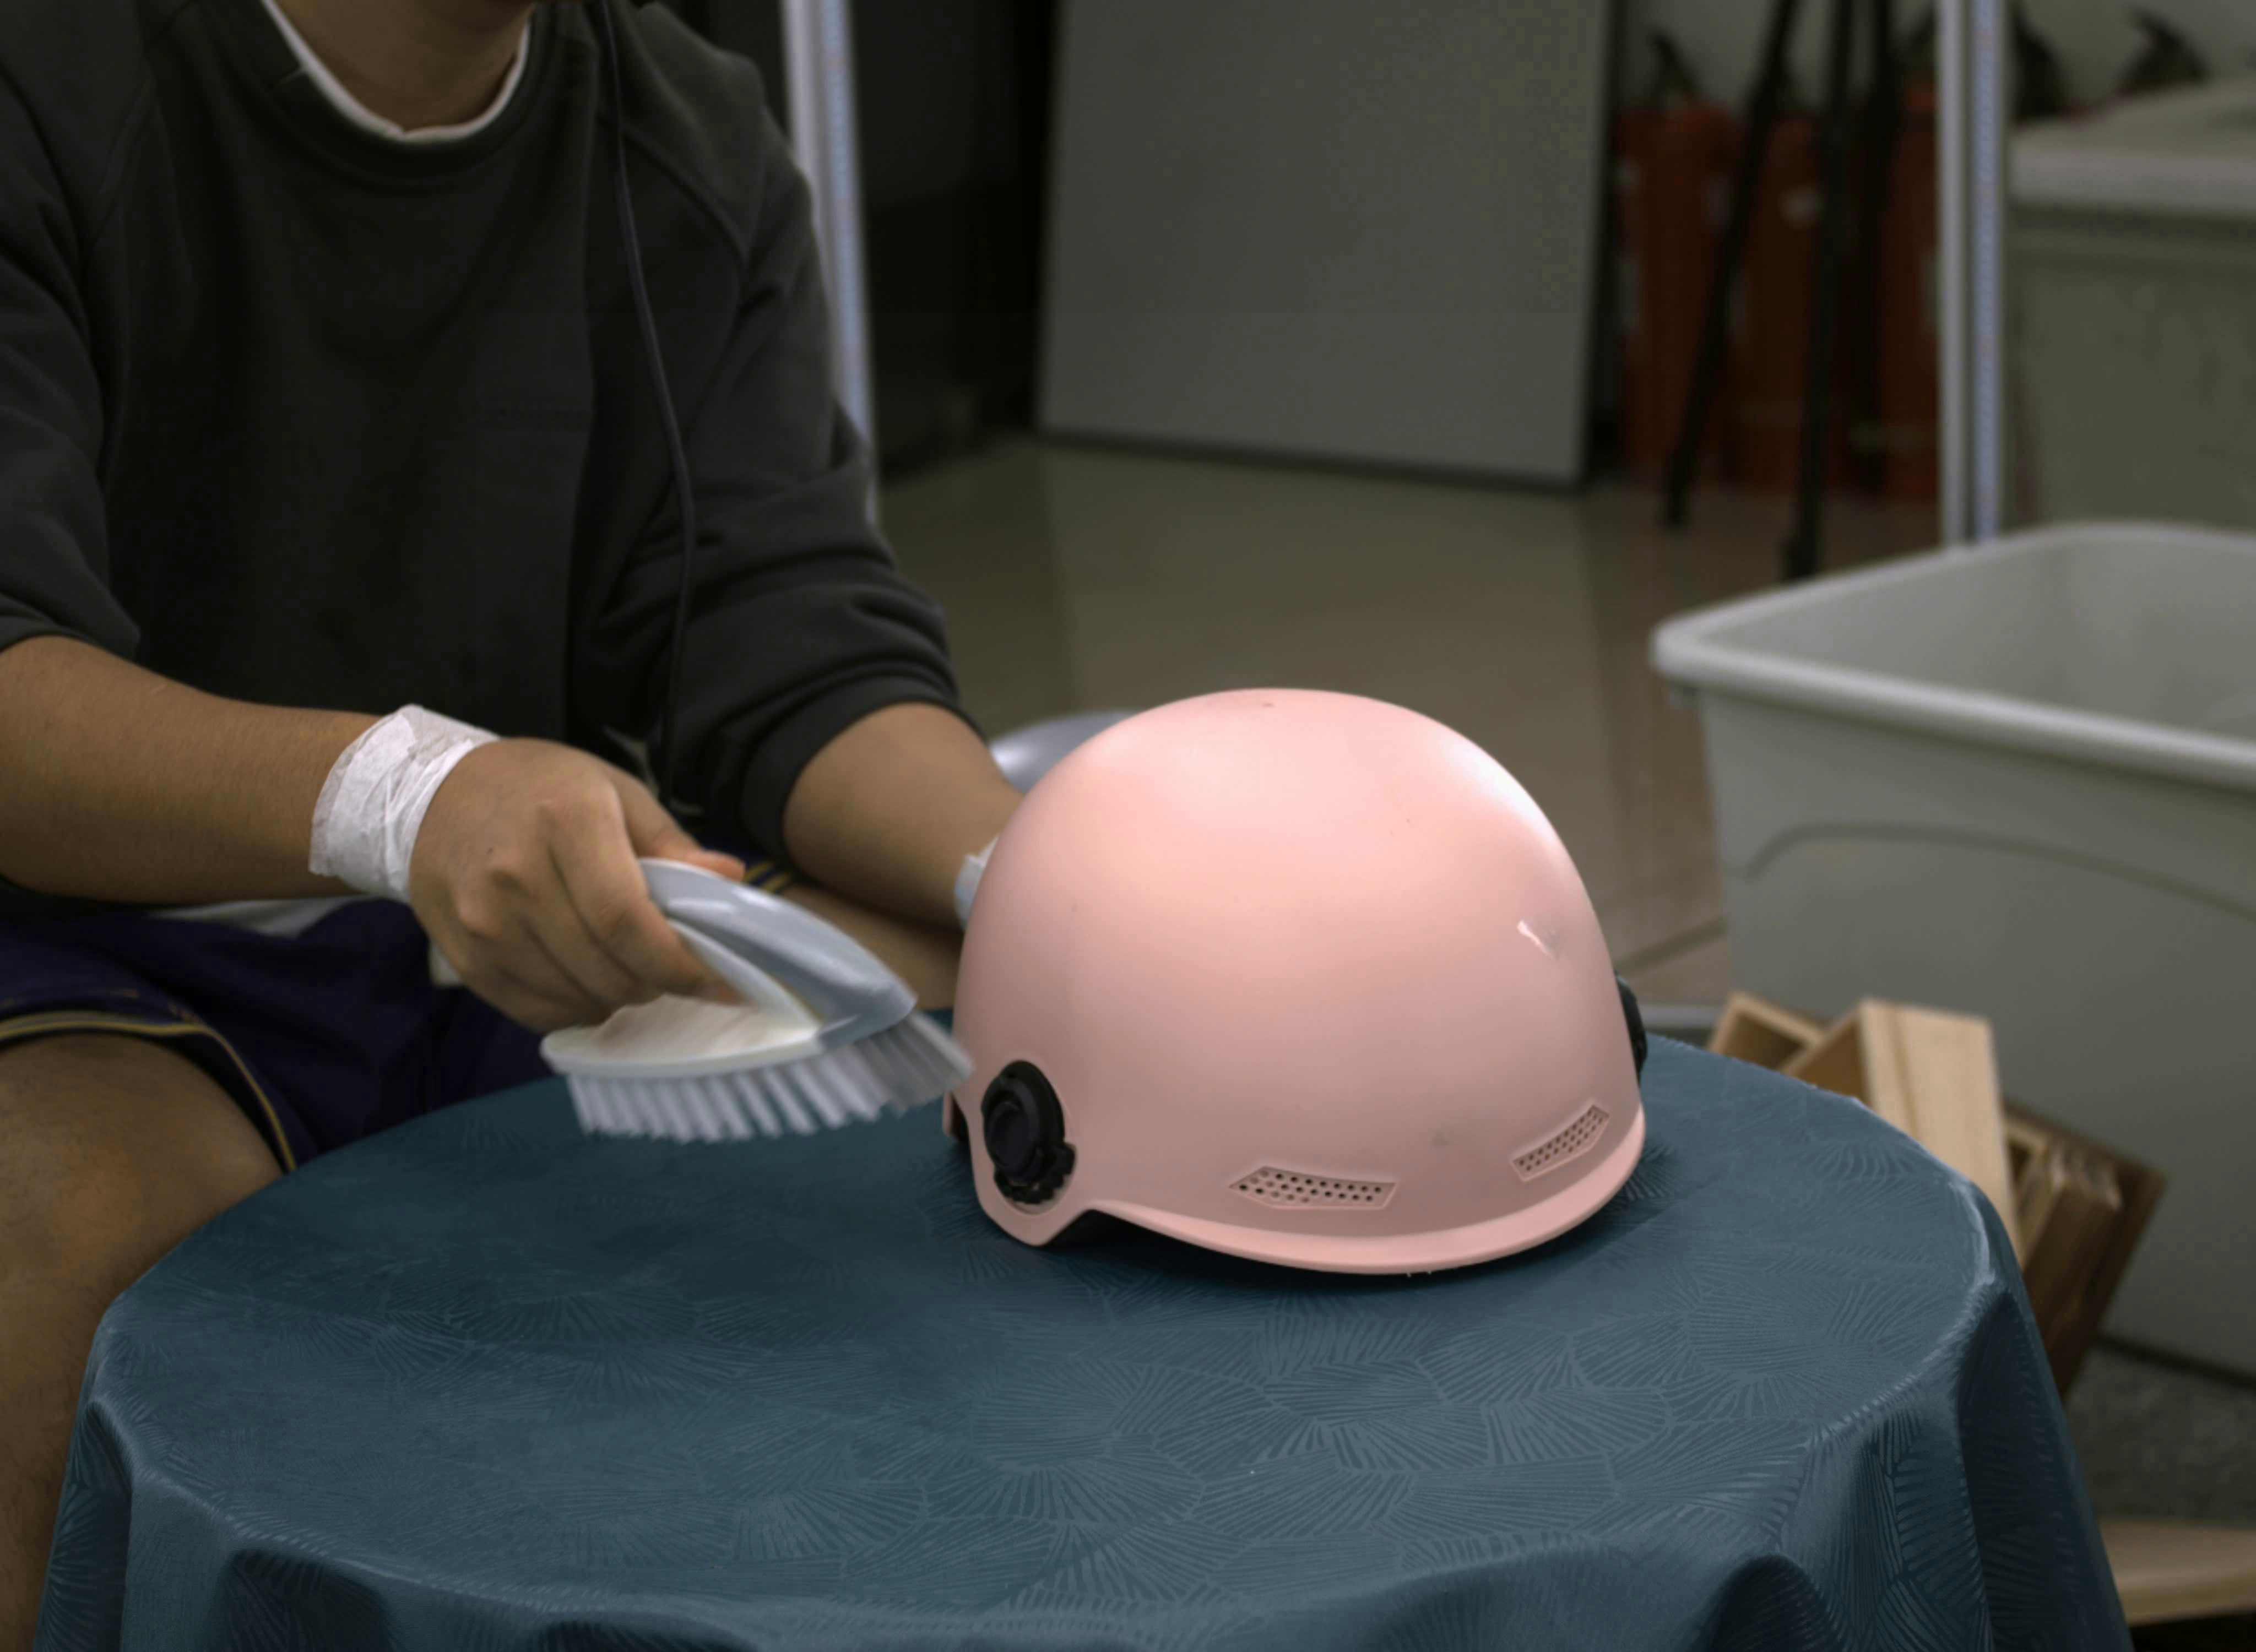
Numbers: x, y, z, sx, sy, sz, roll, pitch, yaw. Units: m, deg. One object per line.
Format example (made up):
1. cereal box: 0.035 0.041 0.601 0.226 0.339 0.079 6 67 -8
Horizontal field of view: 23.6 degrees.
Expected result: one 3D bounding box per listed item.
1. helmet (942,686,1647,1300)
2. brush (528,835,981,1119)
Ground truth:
1. helmet: 0.054 0.042 1.758 0.229 0.160 0.268 -8 19 -21
2. brush: -0.124 0.041 1.696 0.177 0.094 0.061 2 46 49
